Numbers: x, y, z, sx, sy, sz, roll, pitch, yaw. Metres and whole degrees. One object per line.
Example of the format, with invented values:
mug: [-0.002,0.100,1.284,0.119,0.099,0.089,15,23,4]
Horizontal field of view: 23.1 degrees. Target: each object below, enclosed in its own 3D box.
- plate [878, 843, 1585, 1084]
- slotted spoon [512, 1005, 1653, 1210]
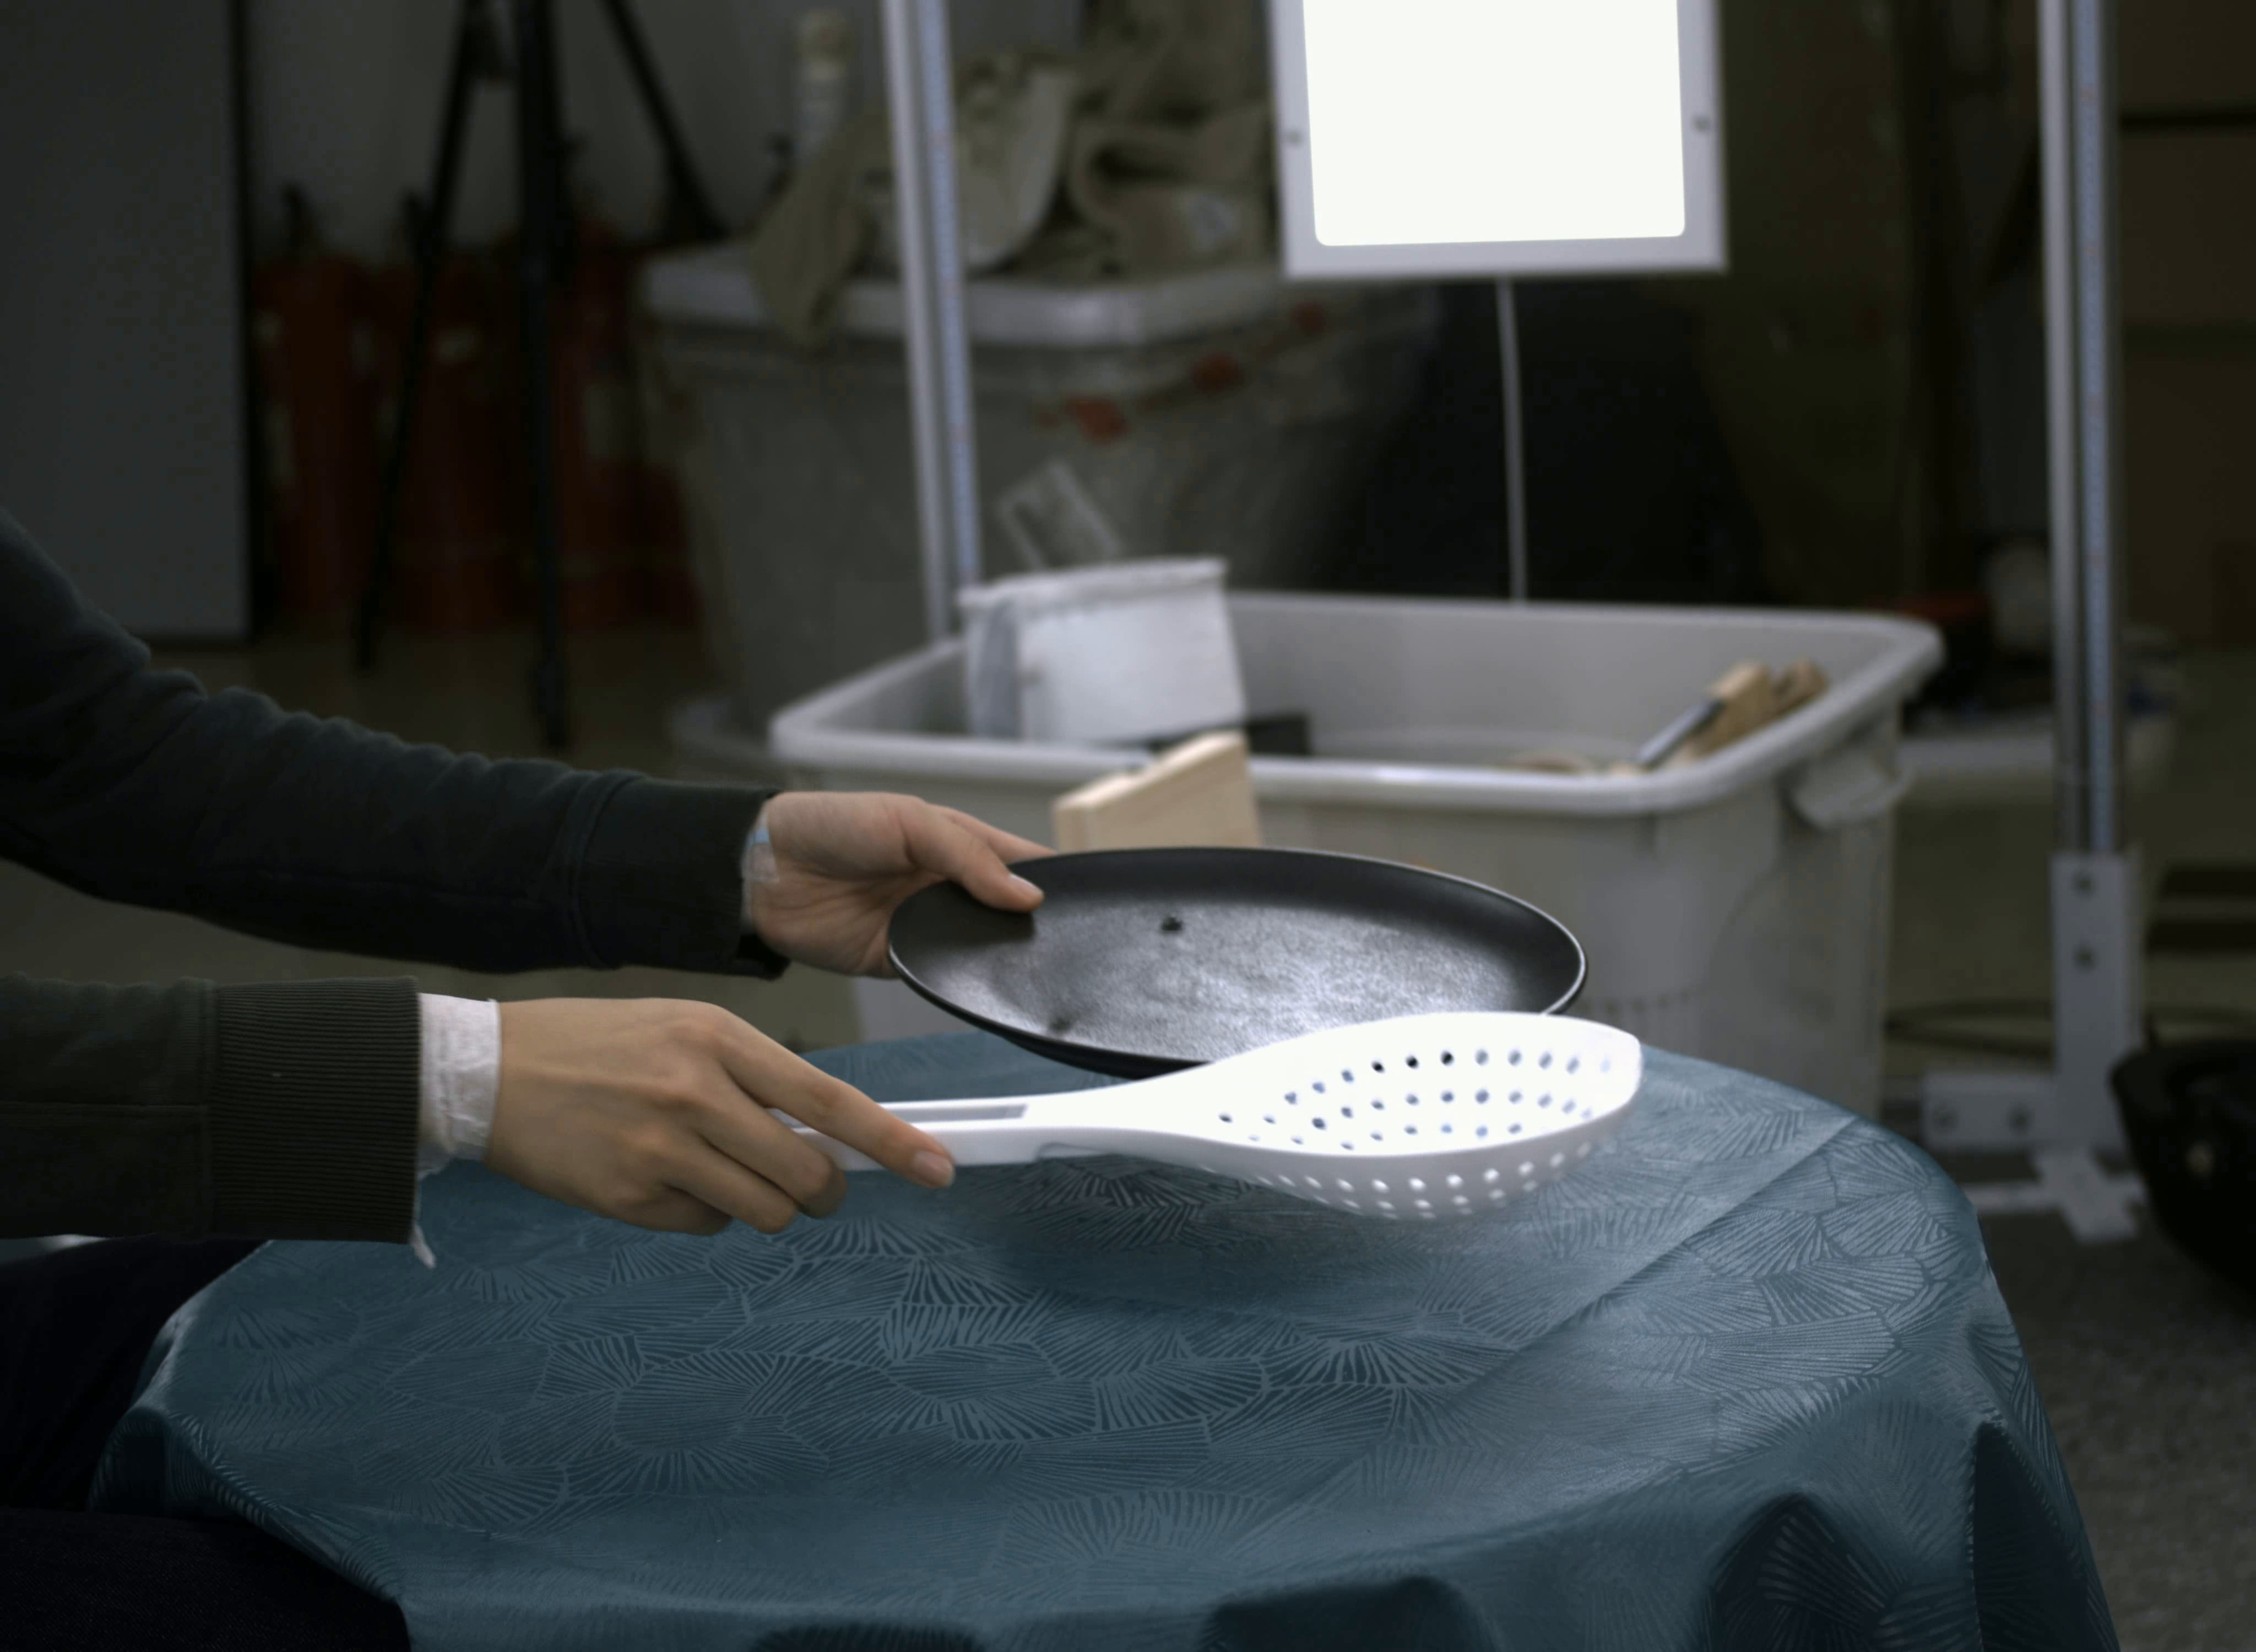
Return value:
plate: [0.035,0.049,1.889,0.243,0.023,0.244,1,16,-2]
slotted spoon: [-0.016,0.088,1.664,0.352,0.046,0.134,1,15,10]
